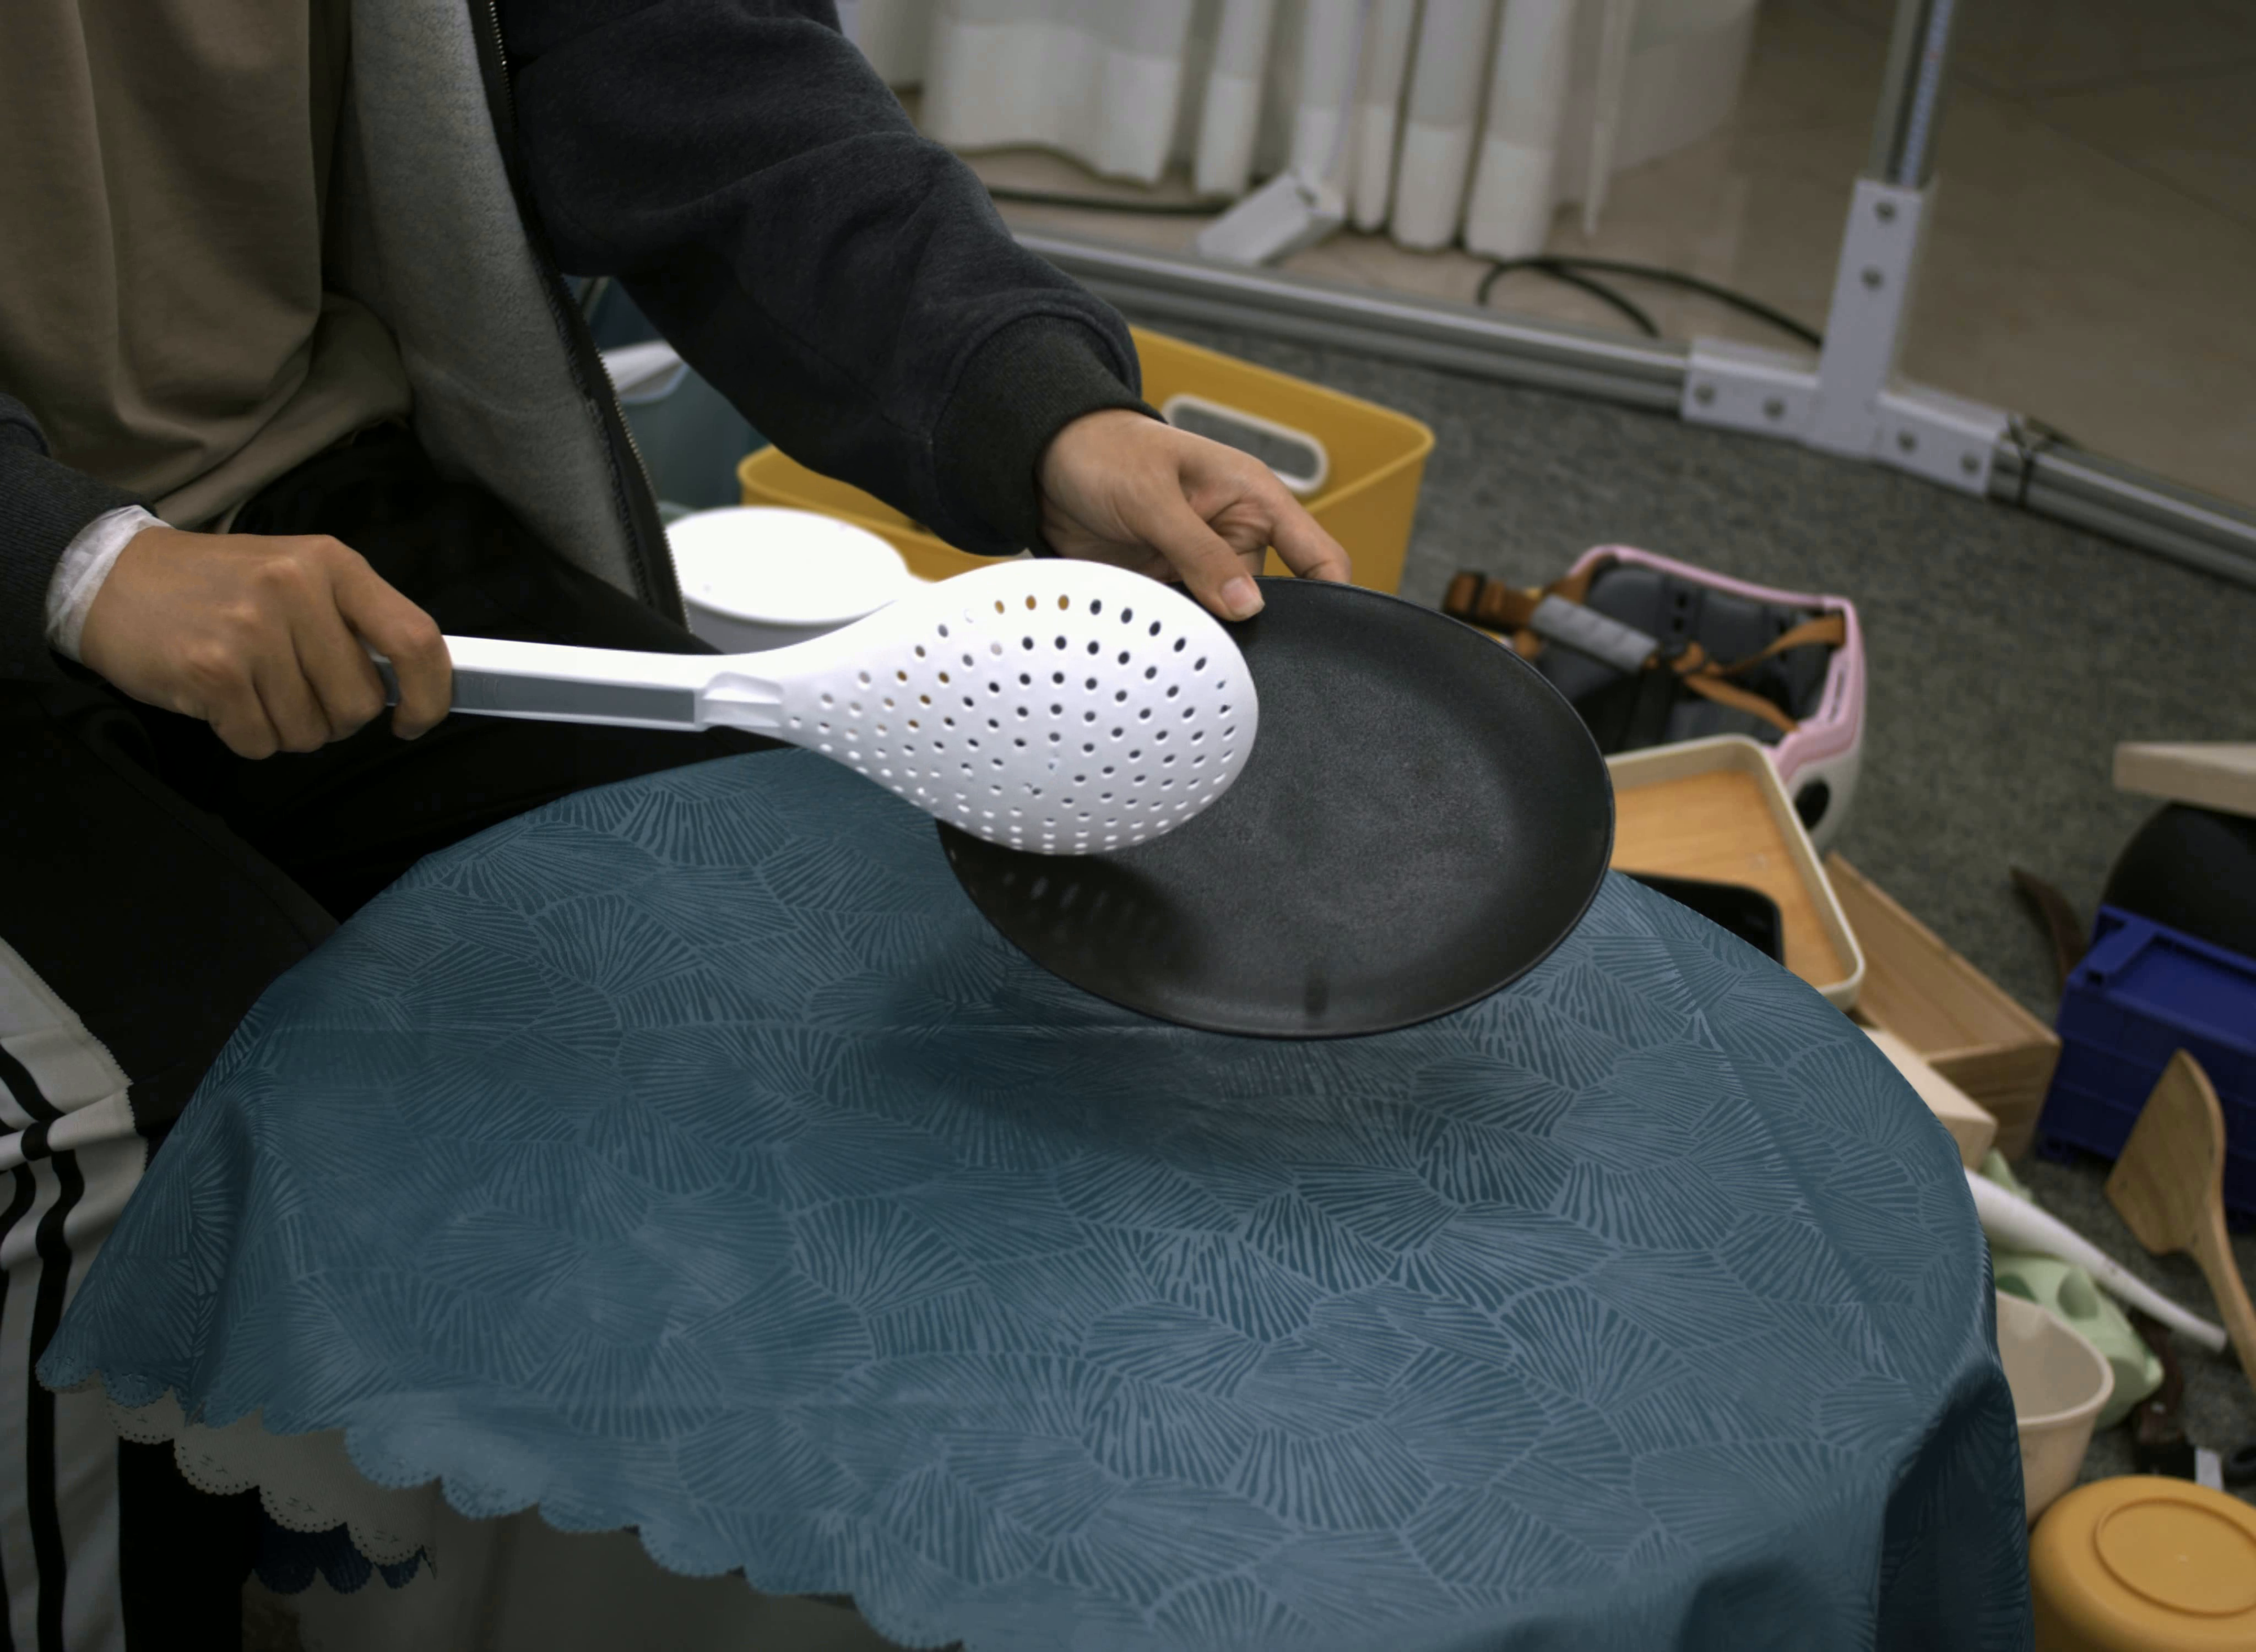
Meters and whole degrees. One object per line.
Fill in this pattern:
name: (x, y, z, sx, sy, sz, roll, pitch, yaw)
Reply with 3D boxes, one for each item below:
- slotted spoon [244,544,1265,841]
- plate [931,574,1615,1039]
slotted spoon: (-0.129, -0.048, 1.825, 0.349, 0.135, 0.046, 7, 46, 5)
plate: (0.051, -0.004, 1.890, 0.243, 0.023, 0.246, 2, 42, -2)
